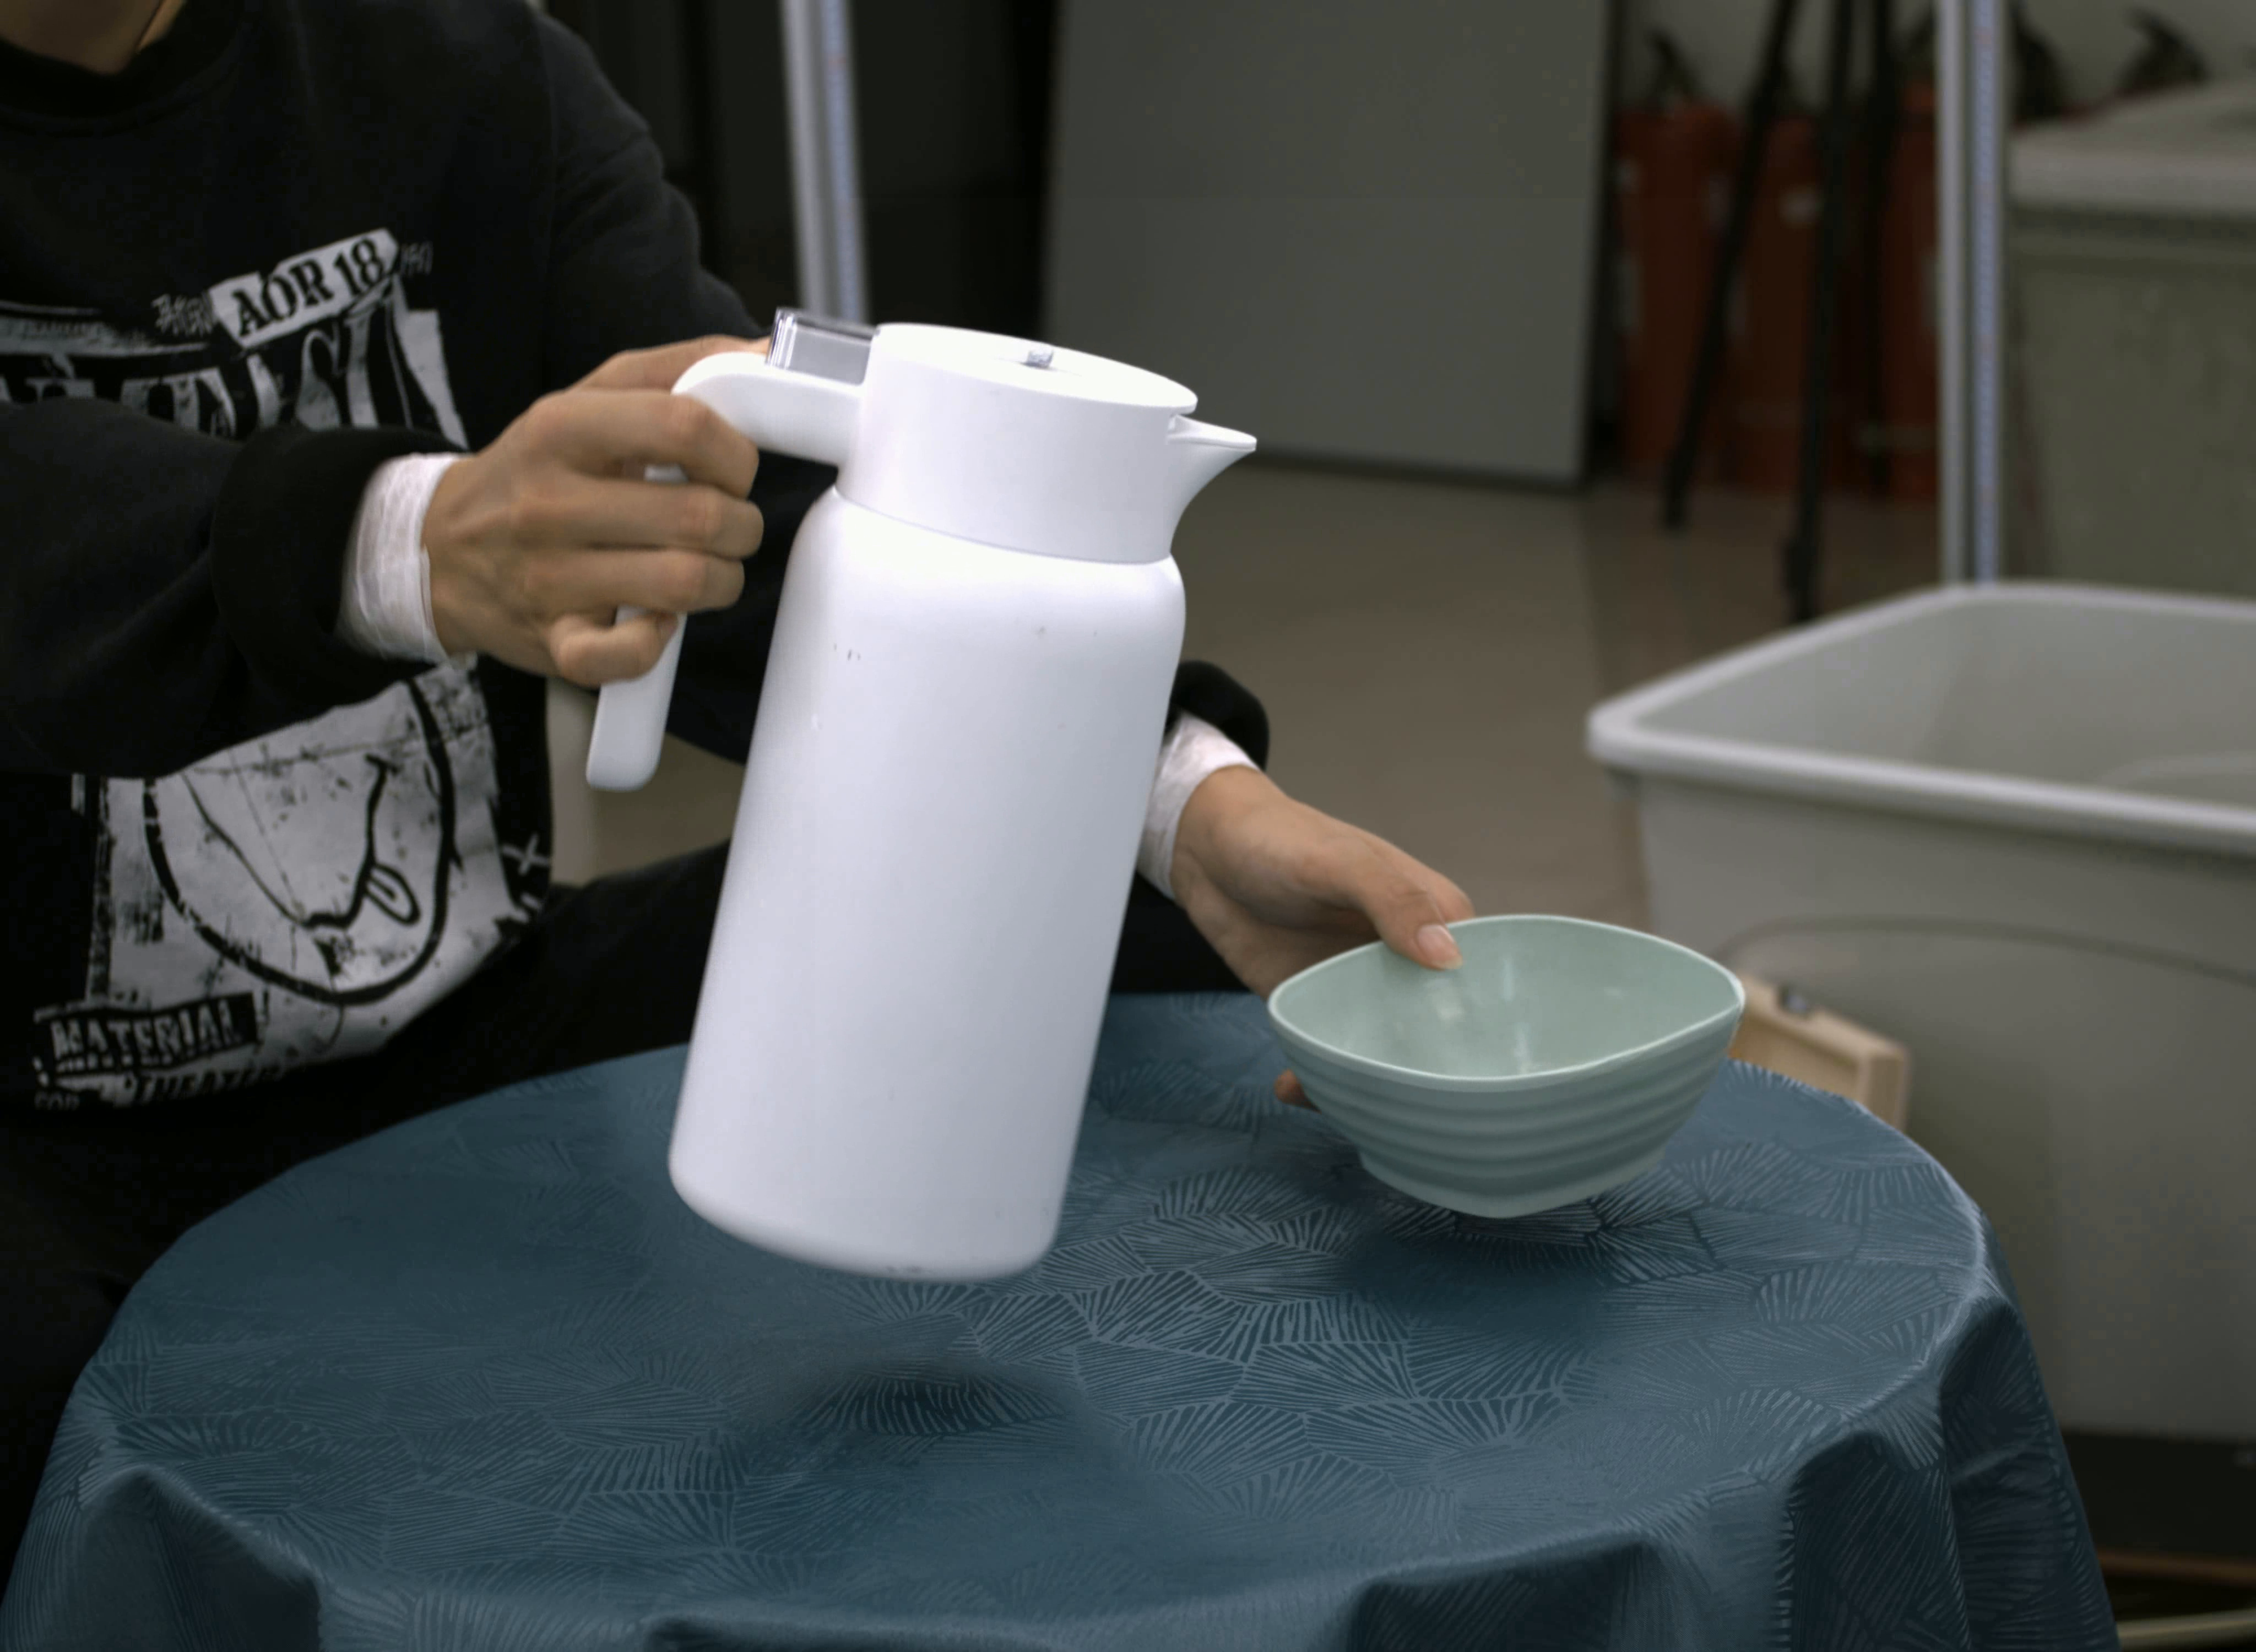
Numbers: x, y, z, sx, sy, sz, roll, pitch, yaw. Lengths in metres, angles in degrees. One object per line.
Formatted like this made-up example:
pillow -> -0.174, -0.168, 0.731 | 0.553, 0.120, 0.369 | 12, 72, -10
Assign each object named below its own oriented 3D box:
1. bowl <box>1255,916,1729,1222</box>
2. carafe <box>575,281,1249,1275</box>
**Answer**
bowl -> 0.116, 0.080, 1.706 | 0.149, 0.059, 0.152 | -5, 17, 1
carafe -> -0.074, -0.016, 1.566 | 0.170, 0.272, 0.124 | 12, 13, -3
